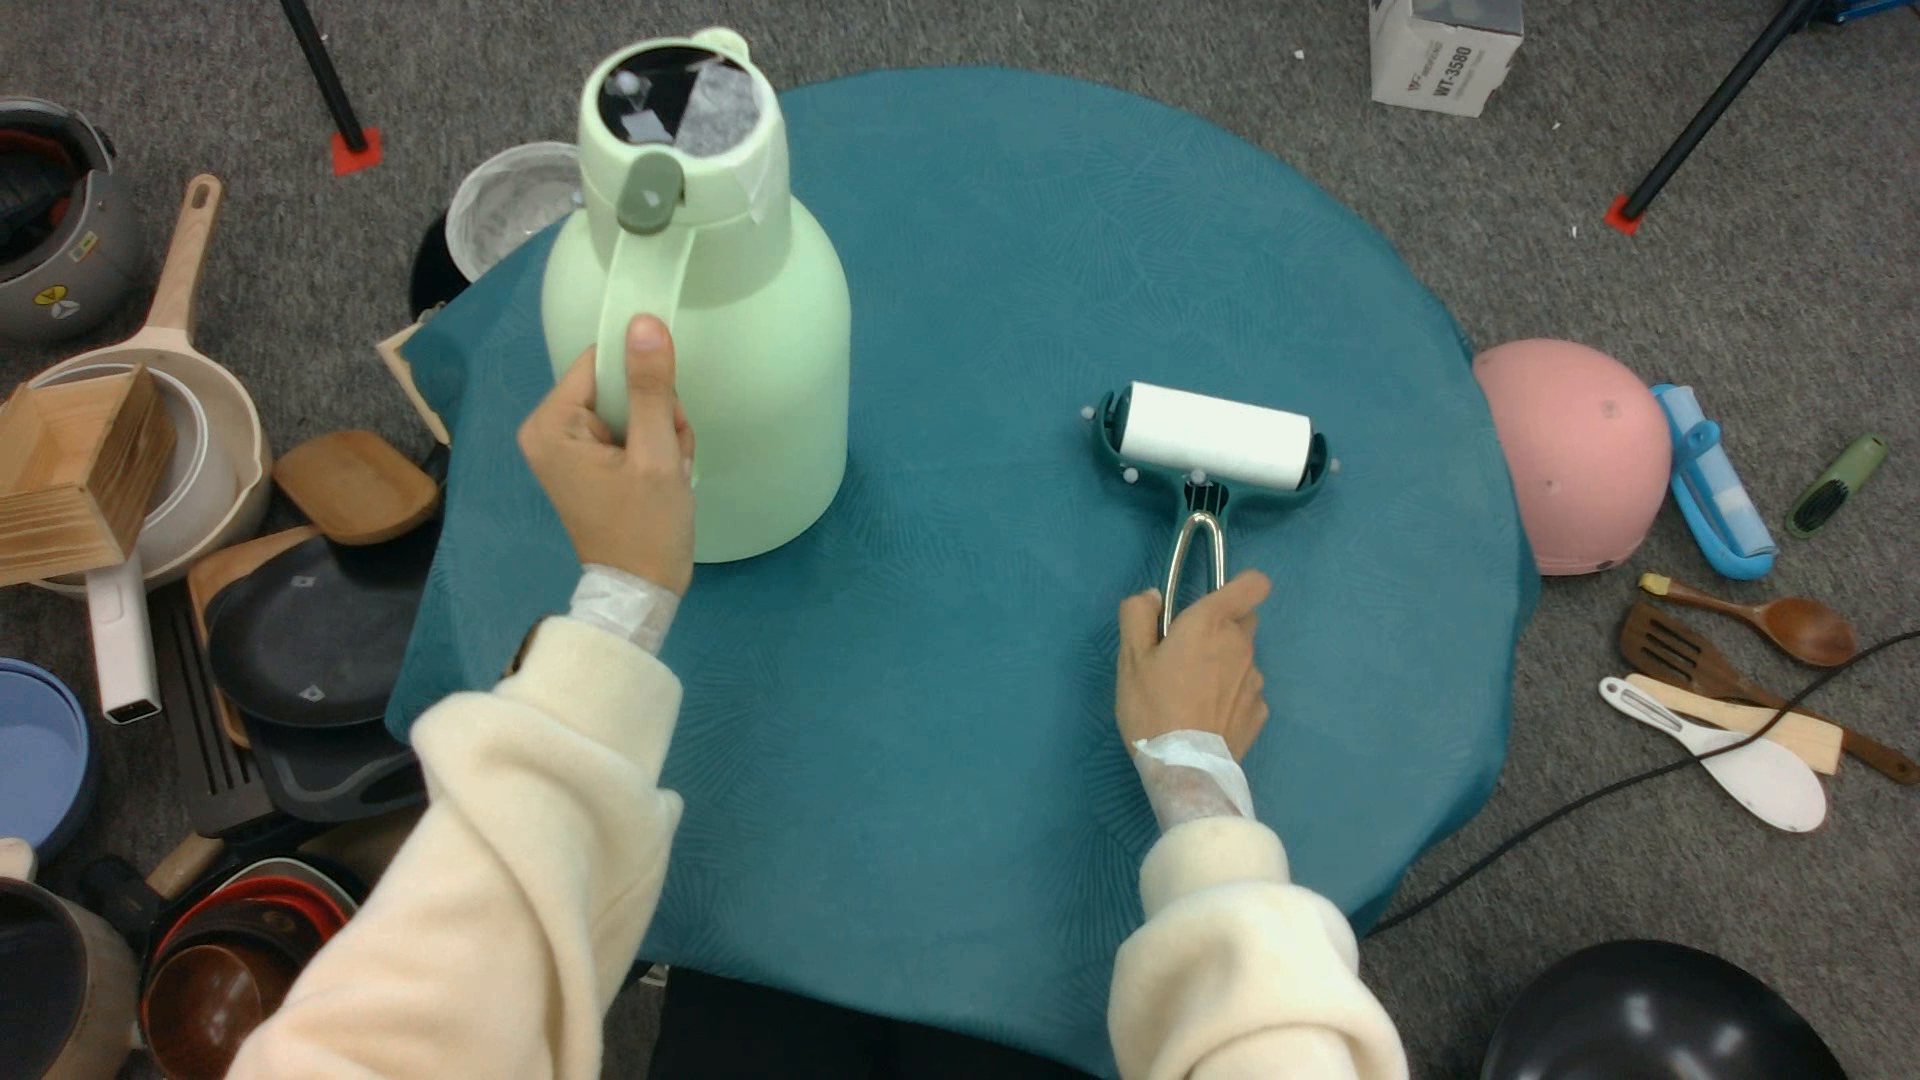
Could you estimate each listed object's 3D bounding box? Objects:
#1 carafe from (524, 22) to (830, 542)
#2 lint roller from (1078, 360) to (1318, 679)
[{"bbox_3d":[-0.134,-0.101,0.641,0.144,0.255,0.187,11,63,-4],"label":"carafe"},{"bbox_3d":[0.120,-0.014,0.728,0.134,0.048,0.181,12,53,0],"label":"lint roller"}]
